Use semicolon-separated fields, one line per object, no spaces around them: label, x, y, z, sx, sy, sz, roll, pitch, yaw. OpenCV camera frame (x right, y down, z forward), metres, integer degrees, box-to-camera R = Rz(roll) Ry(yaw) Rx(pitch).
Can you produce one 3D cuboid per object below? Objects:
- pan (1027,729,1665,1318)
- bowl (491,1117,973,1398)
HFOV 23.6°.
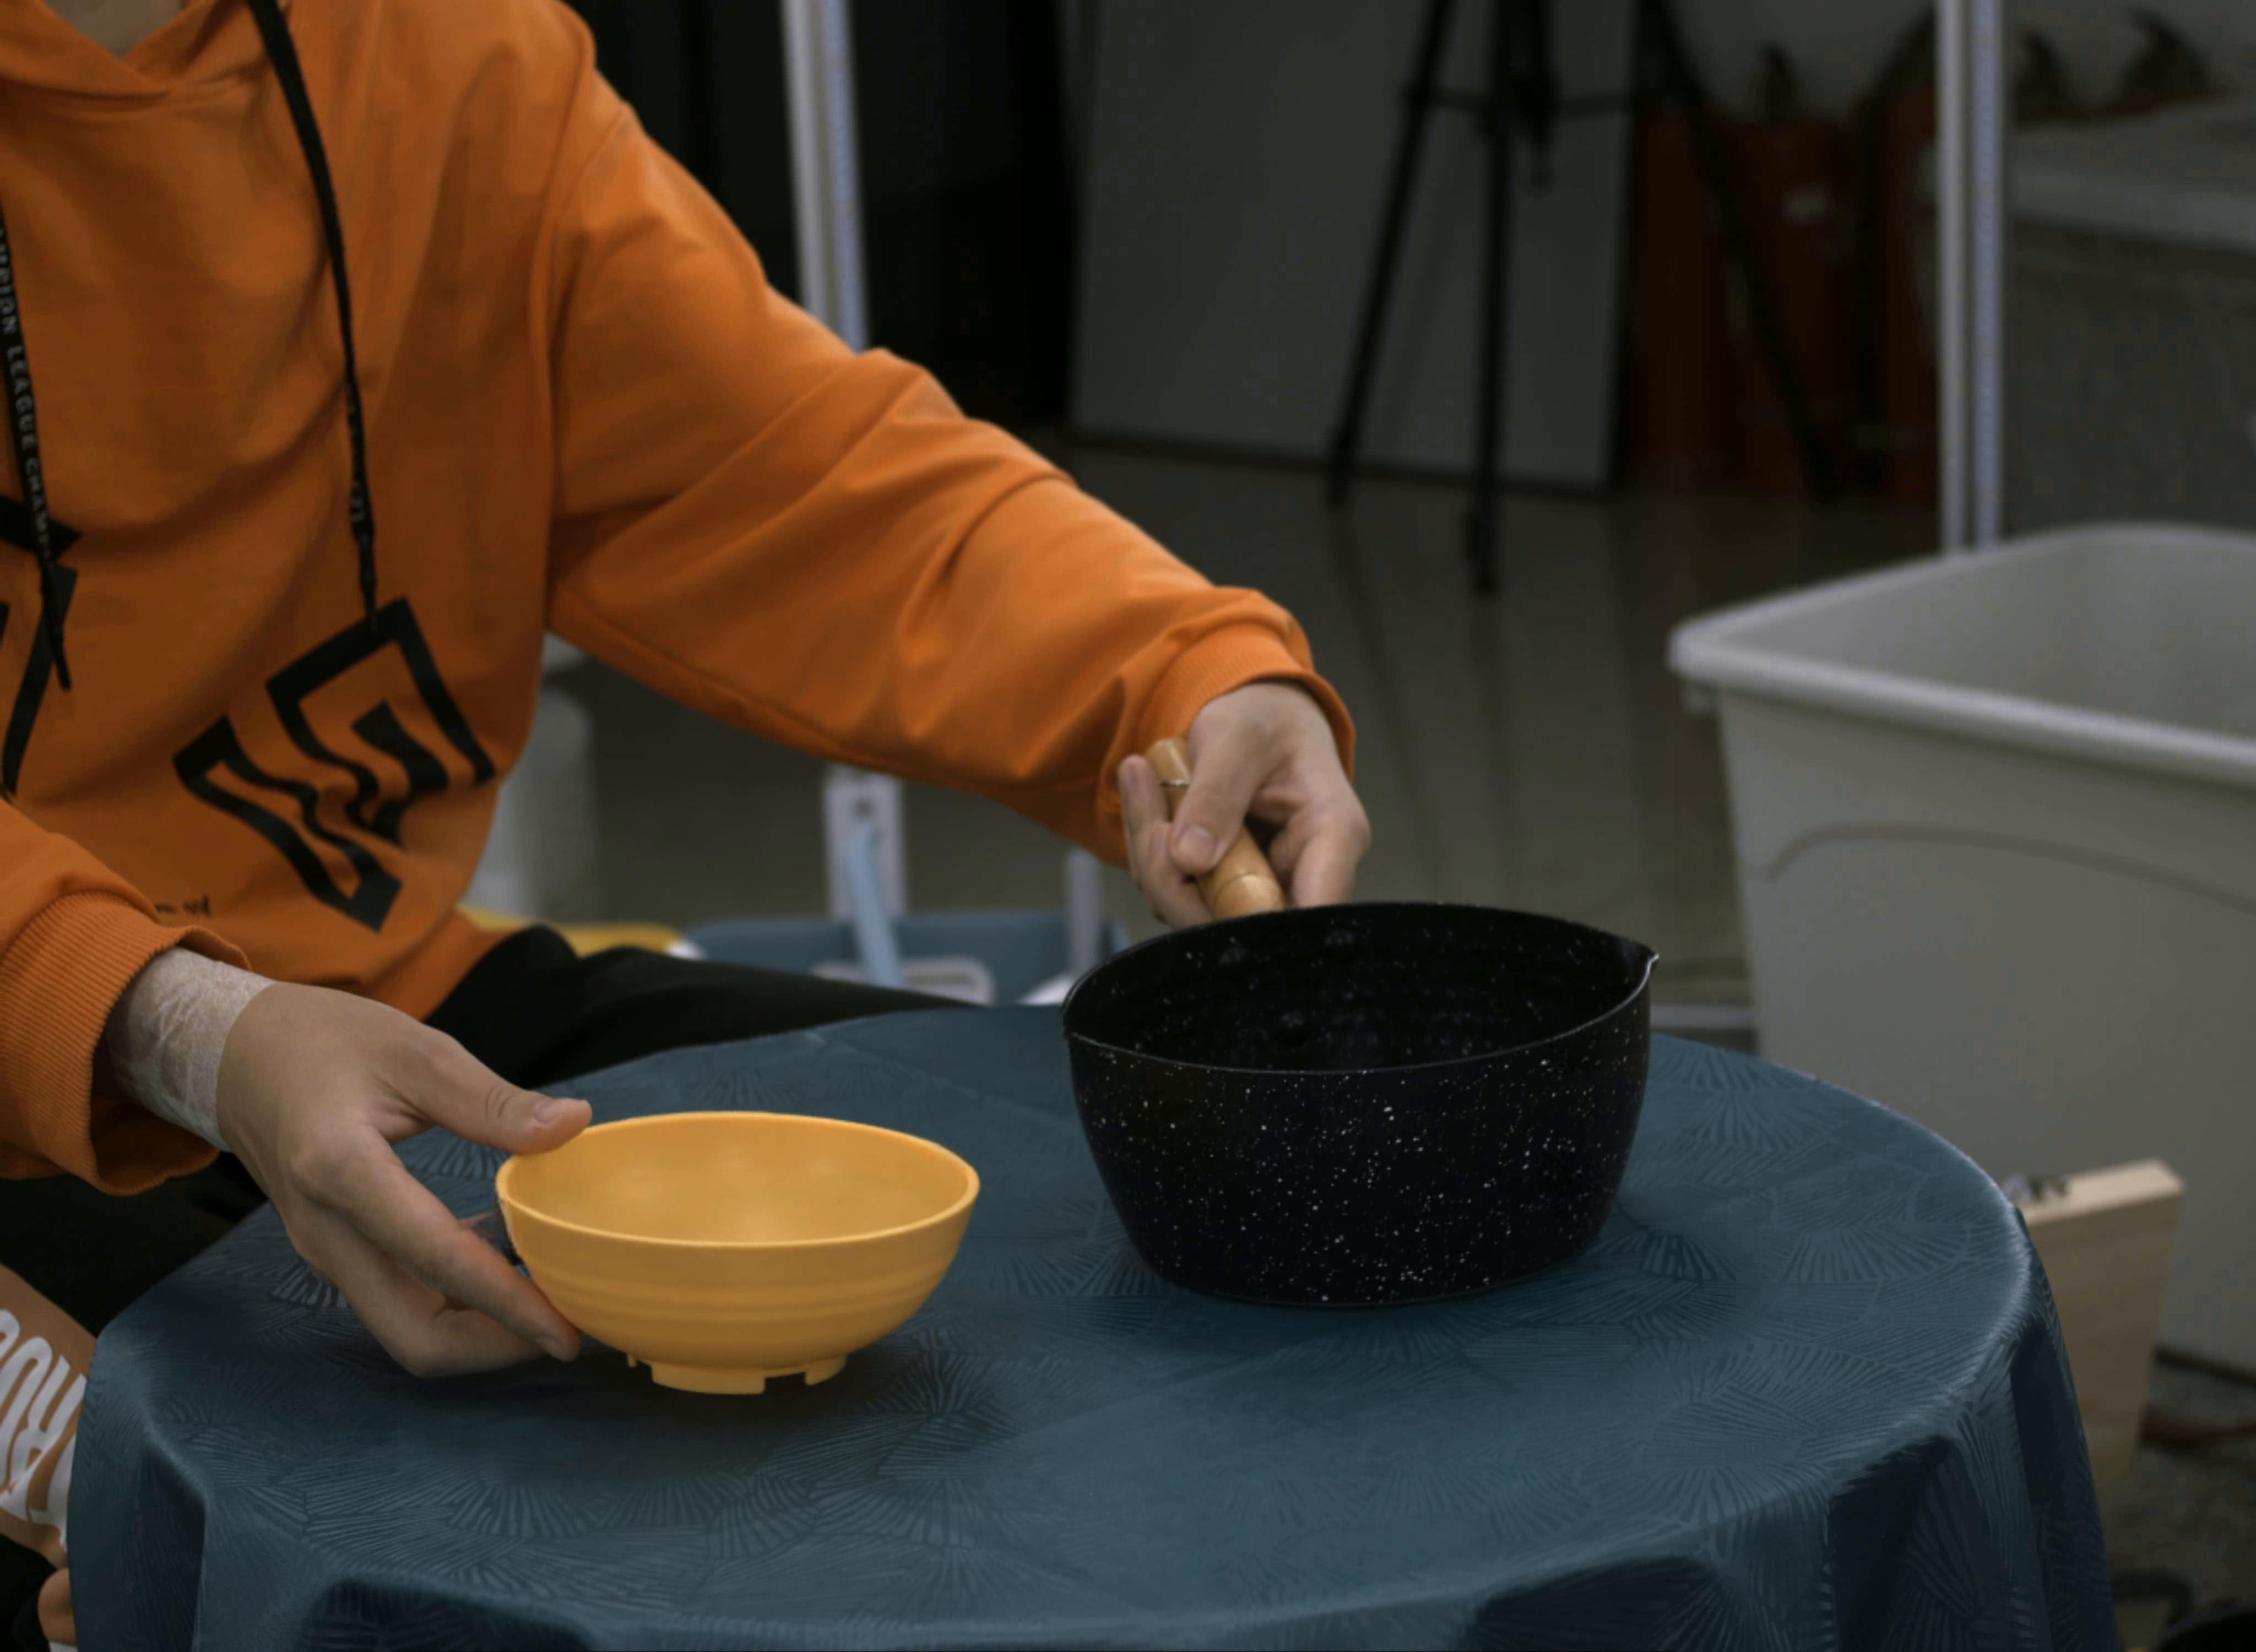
pan;0.055;0.059;1.774;0.204;0.109;0.345;-9;16;-12
bowl;-0.118;0.132;1.609;0.143;0.061;0.145;1;10;-1
